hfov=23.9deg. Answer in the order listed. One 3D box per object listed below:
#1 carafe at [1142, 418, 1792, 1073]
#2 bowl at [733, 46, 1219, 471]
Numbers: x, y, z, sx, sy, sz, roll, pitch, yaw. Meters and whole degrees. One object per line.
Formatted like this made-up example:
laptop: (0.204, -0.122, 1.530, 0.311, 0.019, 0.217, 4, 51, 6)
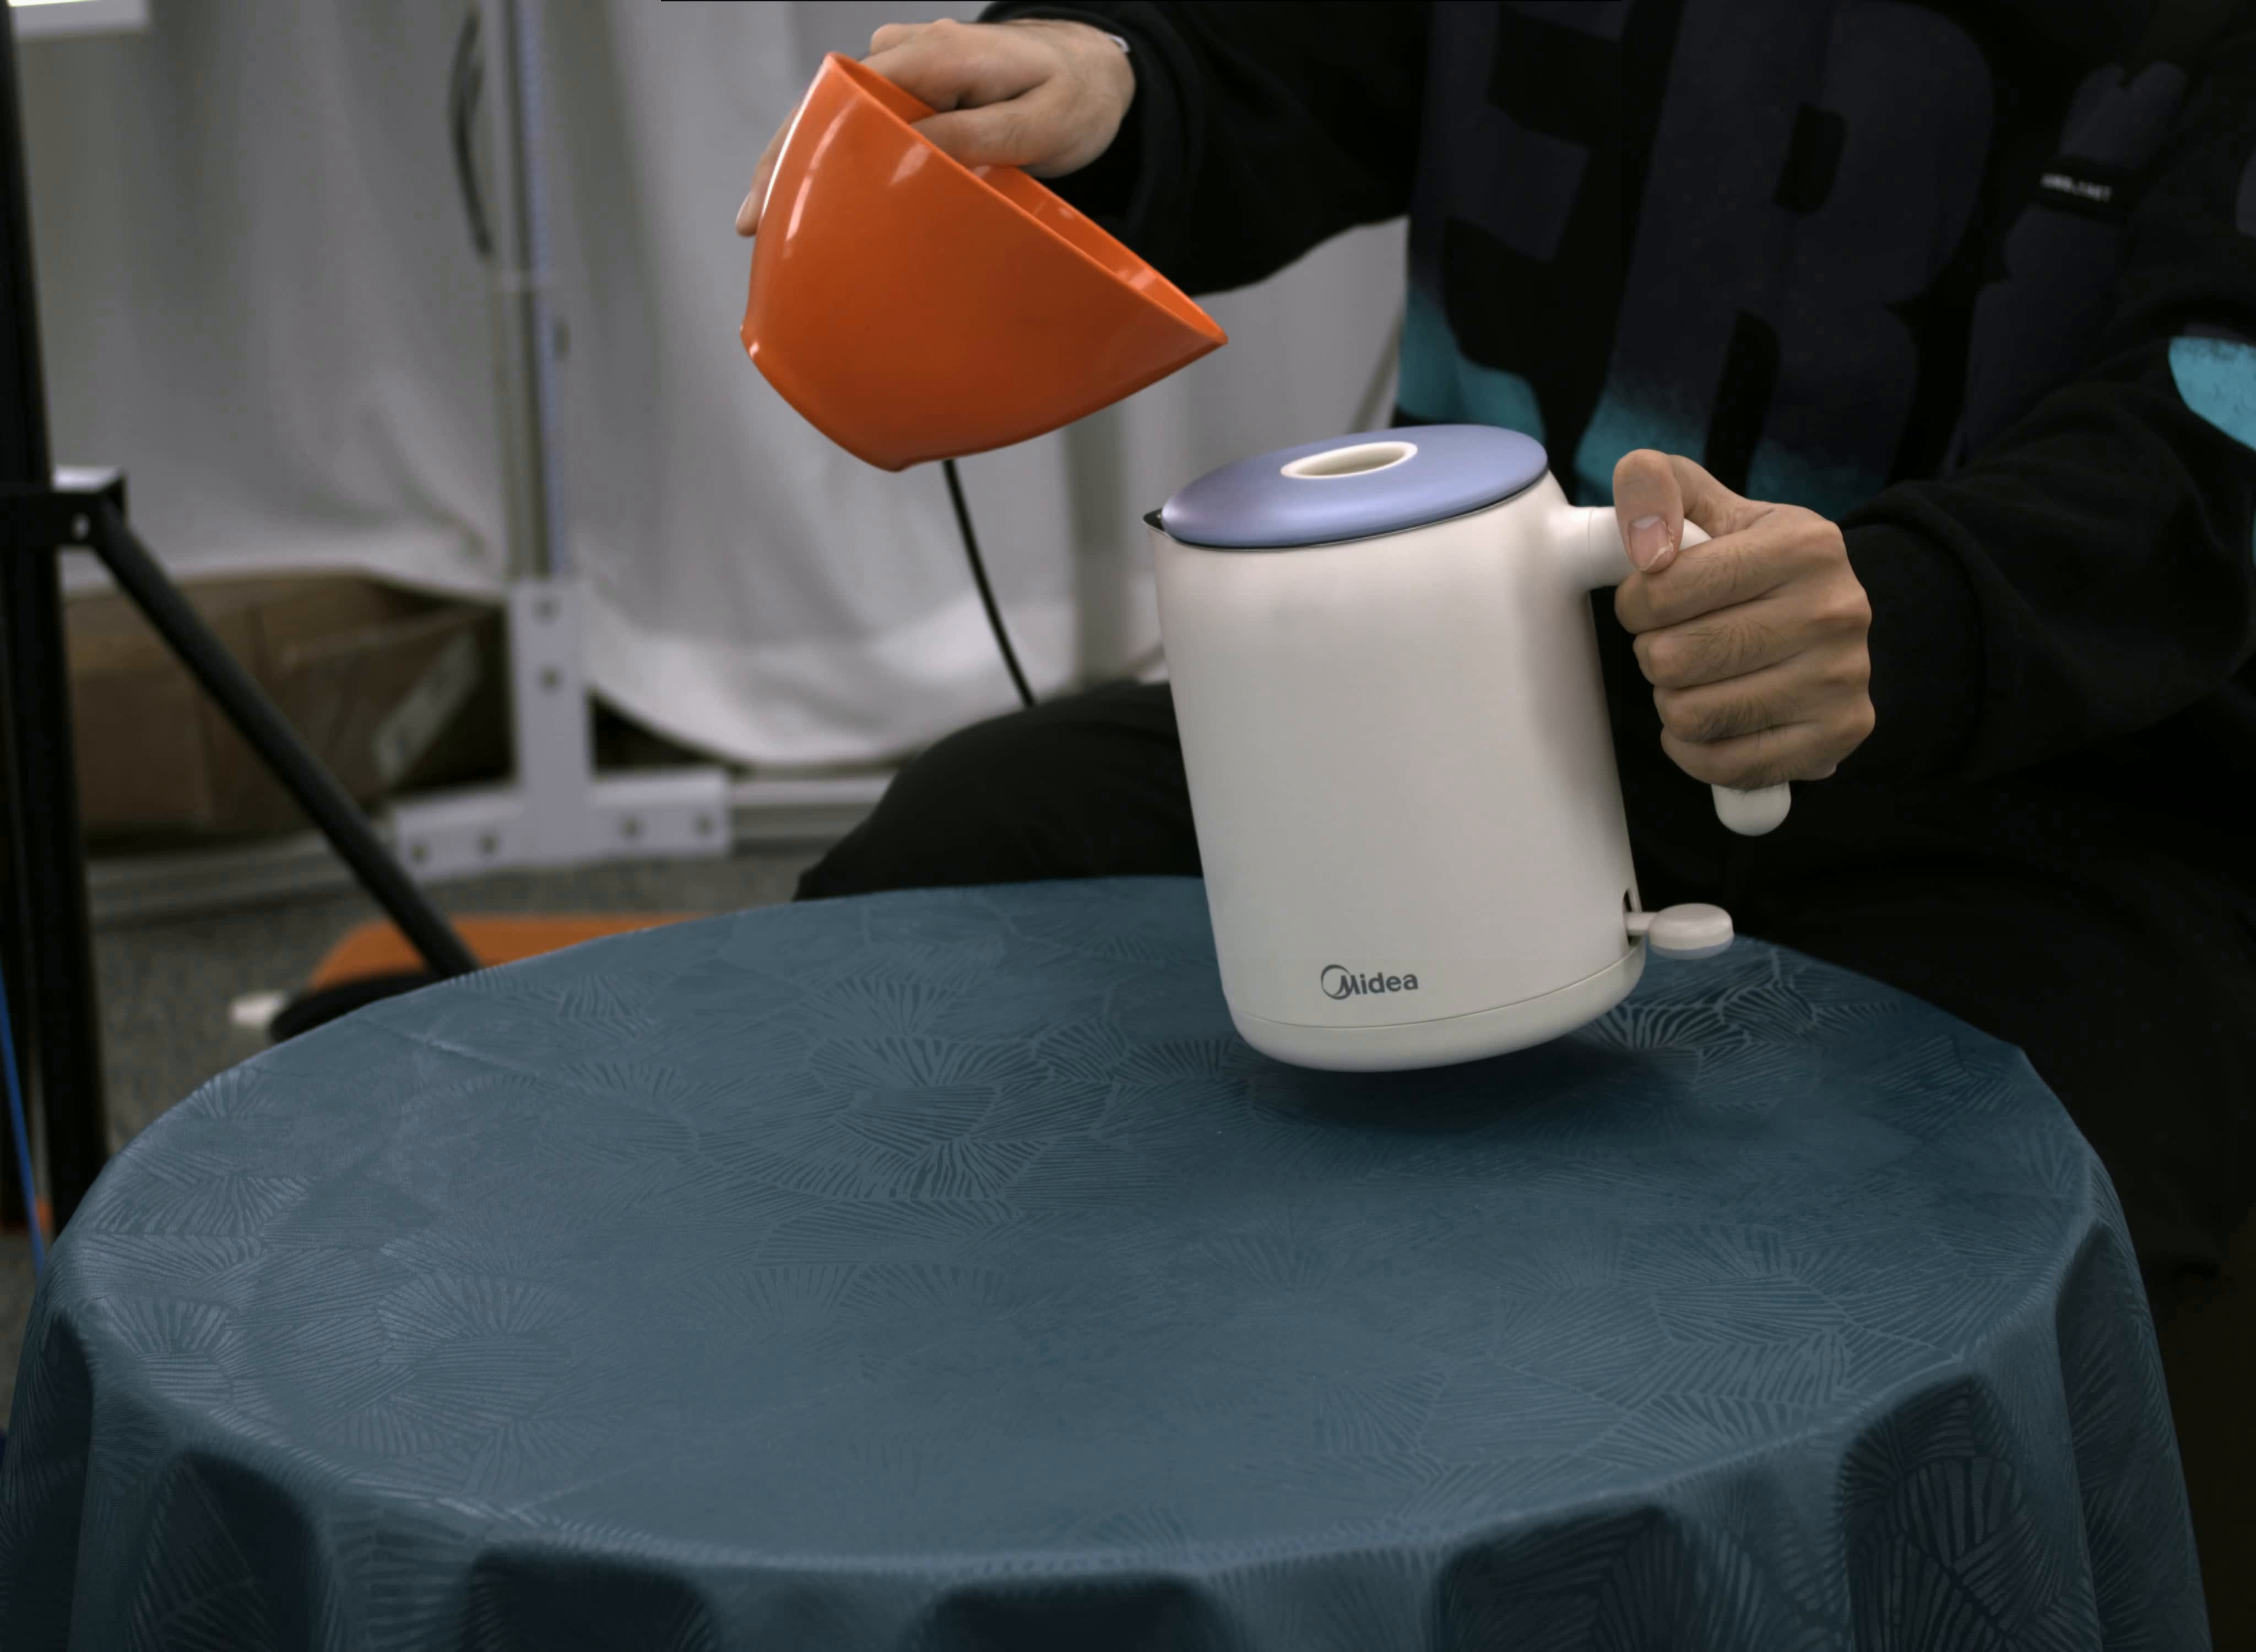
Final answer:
carafe: (0.105, -0.026, 1.613, 0.193, 0.182, 0.131, -2, 17, 20)
bowl: (-0.058, -0.160, 1.612, 0.146, 0.105, 0.149, 37, 17, -15)
